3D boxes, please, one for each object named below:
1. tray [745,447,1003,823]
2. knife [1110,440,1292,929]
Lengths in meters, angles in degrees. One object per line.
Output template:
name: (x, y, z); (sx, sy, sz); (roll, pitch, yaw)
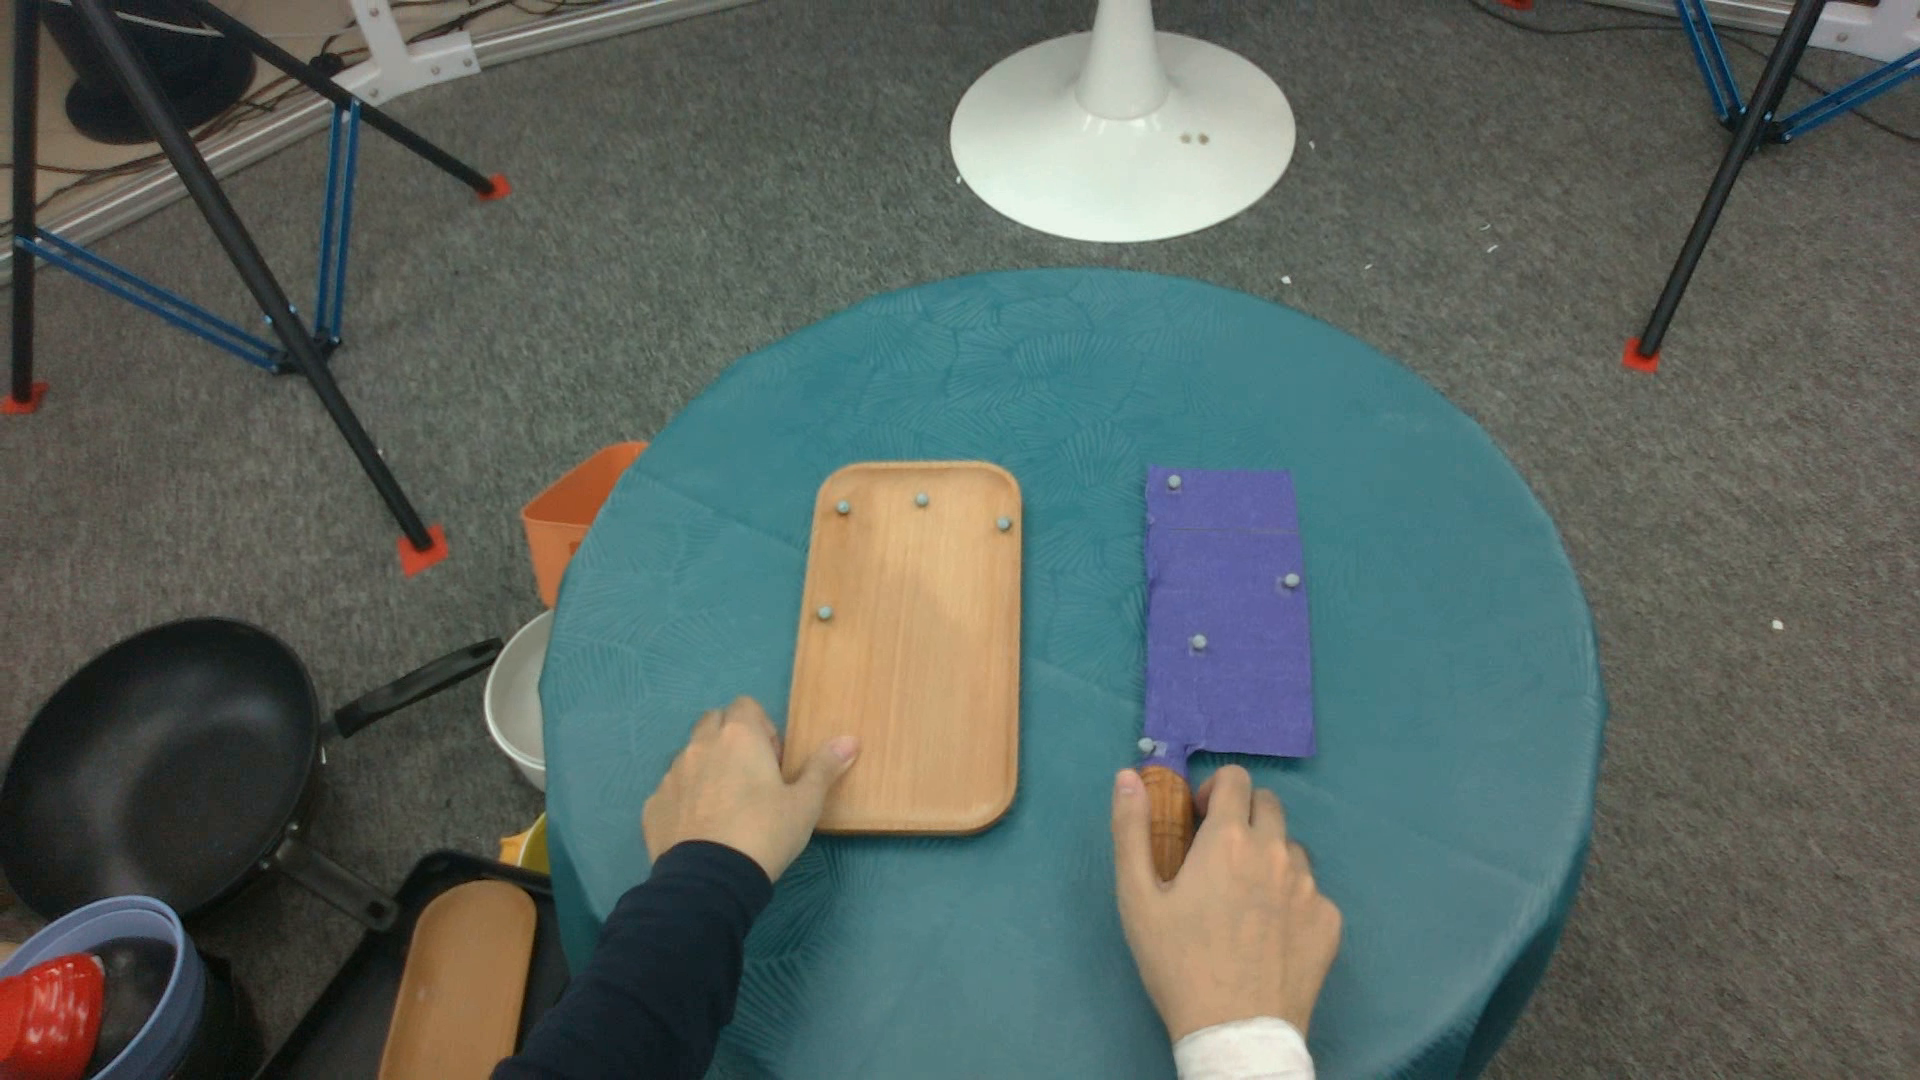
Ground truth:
tray: (-0.043, 0.046, 0.786); (0.130, 0.023, 0.252); (0, 53, 6)
knife: (0.134, 0.060, 0.758); (0.104, 0.032, 0.317); (2, 52, 5)
